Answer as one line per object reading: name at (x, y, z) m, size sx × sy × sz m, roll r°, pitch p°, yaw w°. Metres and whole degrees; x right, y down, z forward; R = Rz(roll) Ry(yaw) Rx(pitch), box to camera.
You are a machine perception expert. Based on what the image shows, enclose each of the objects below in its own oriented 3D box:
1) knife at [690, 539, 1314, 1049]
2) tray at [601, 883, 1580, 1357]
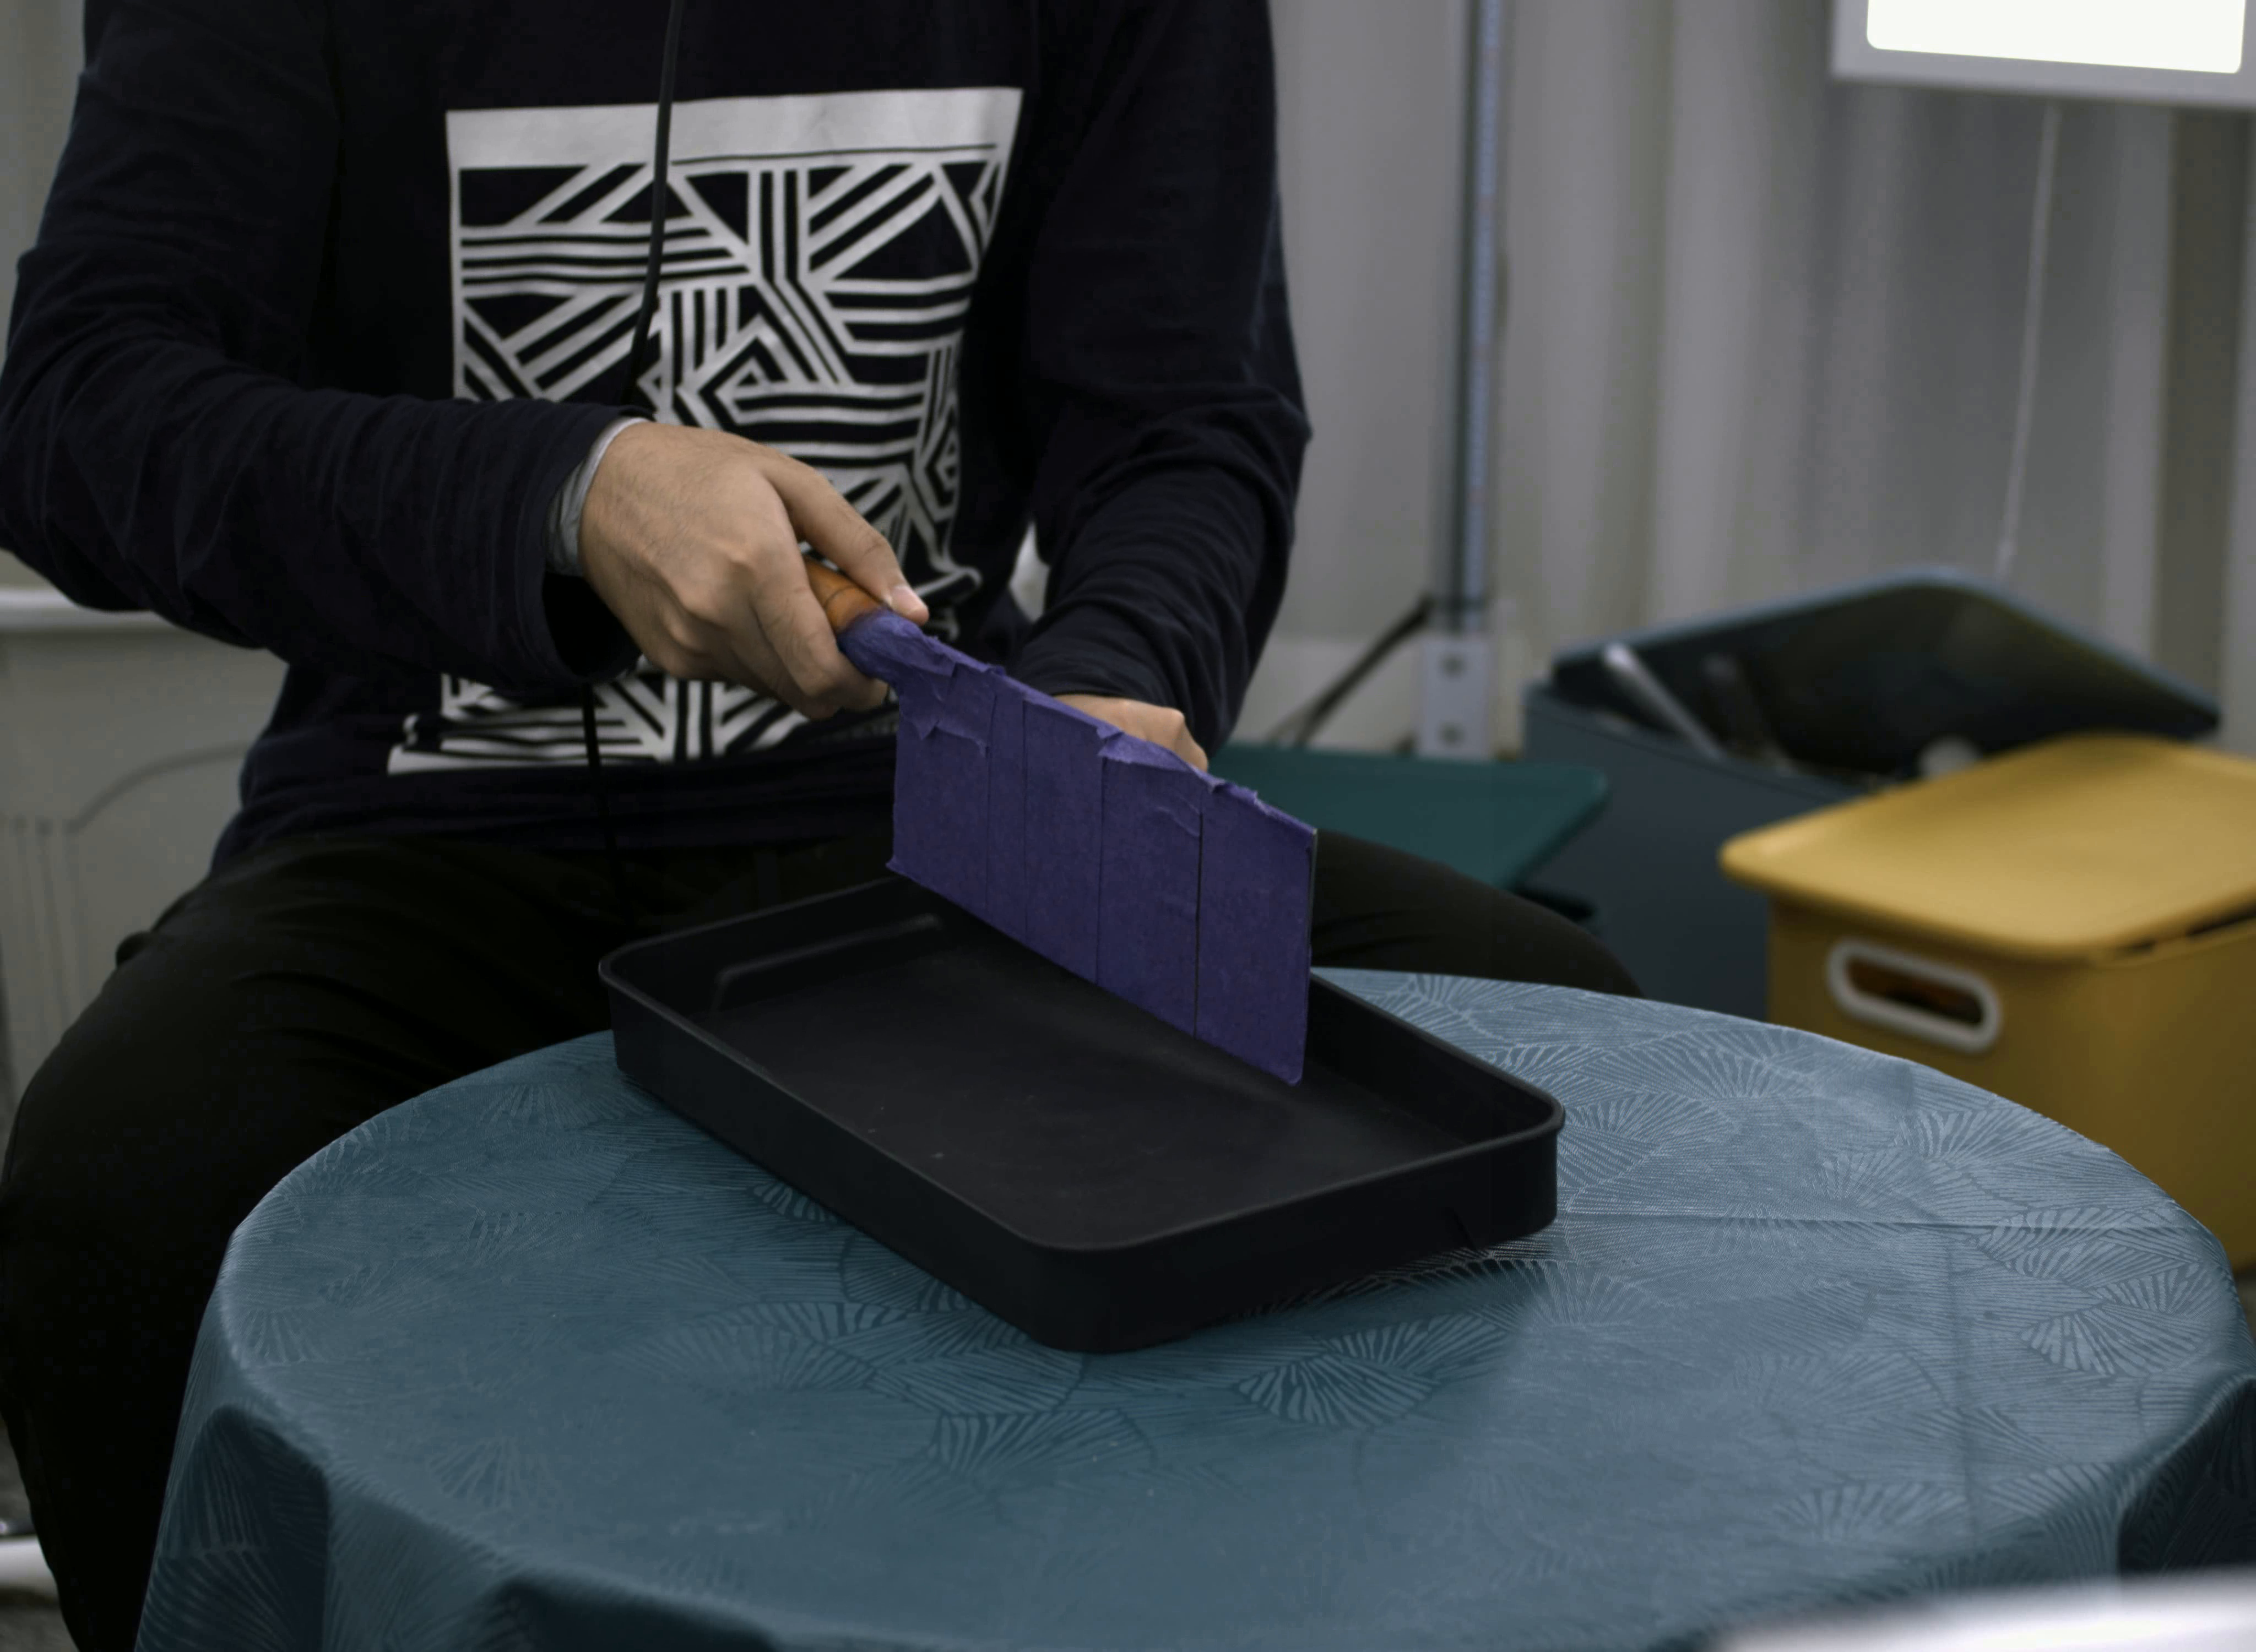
knife at (-0.046, -0.011, 1.729) m, size 0.032 × 0.105 × 0.311 m, roll -14°, pitch 27°, yaw -37°
tray at (-0.018, 0.082, 1.640) m, size 0.185 × 0.037 × 0.314 m, roll -14°, pitch 21°, yaw -30°
